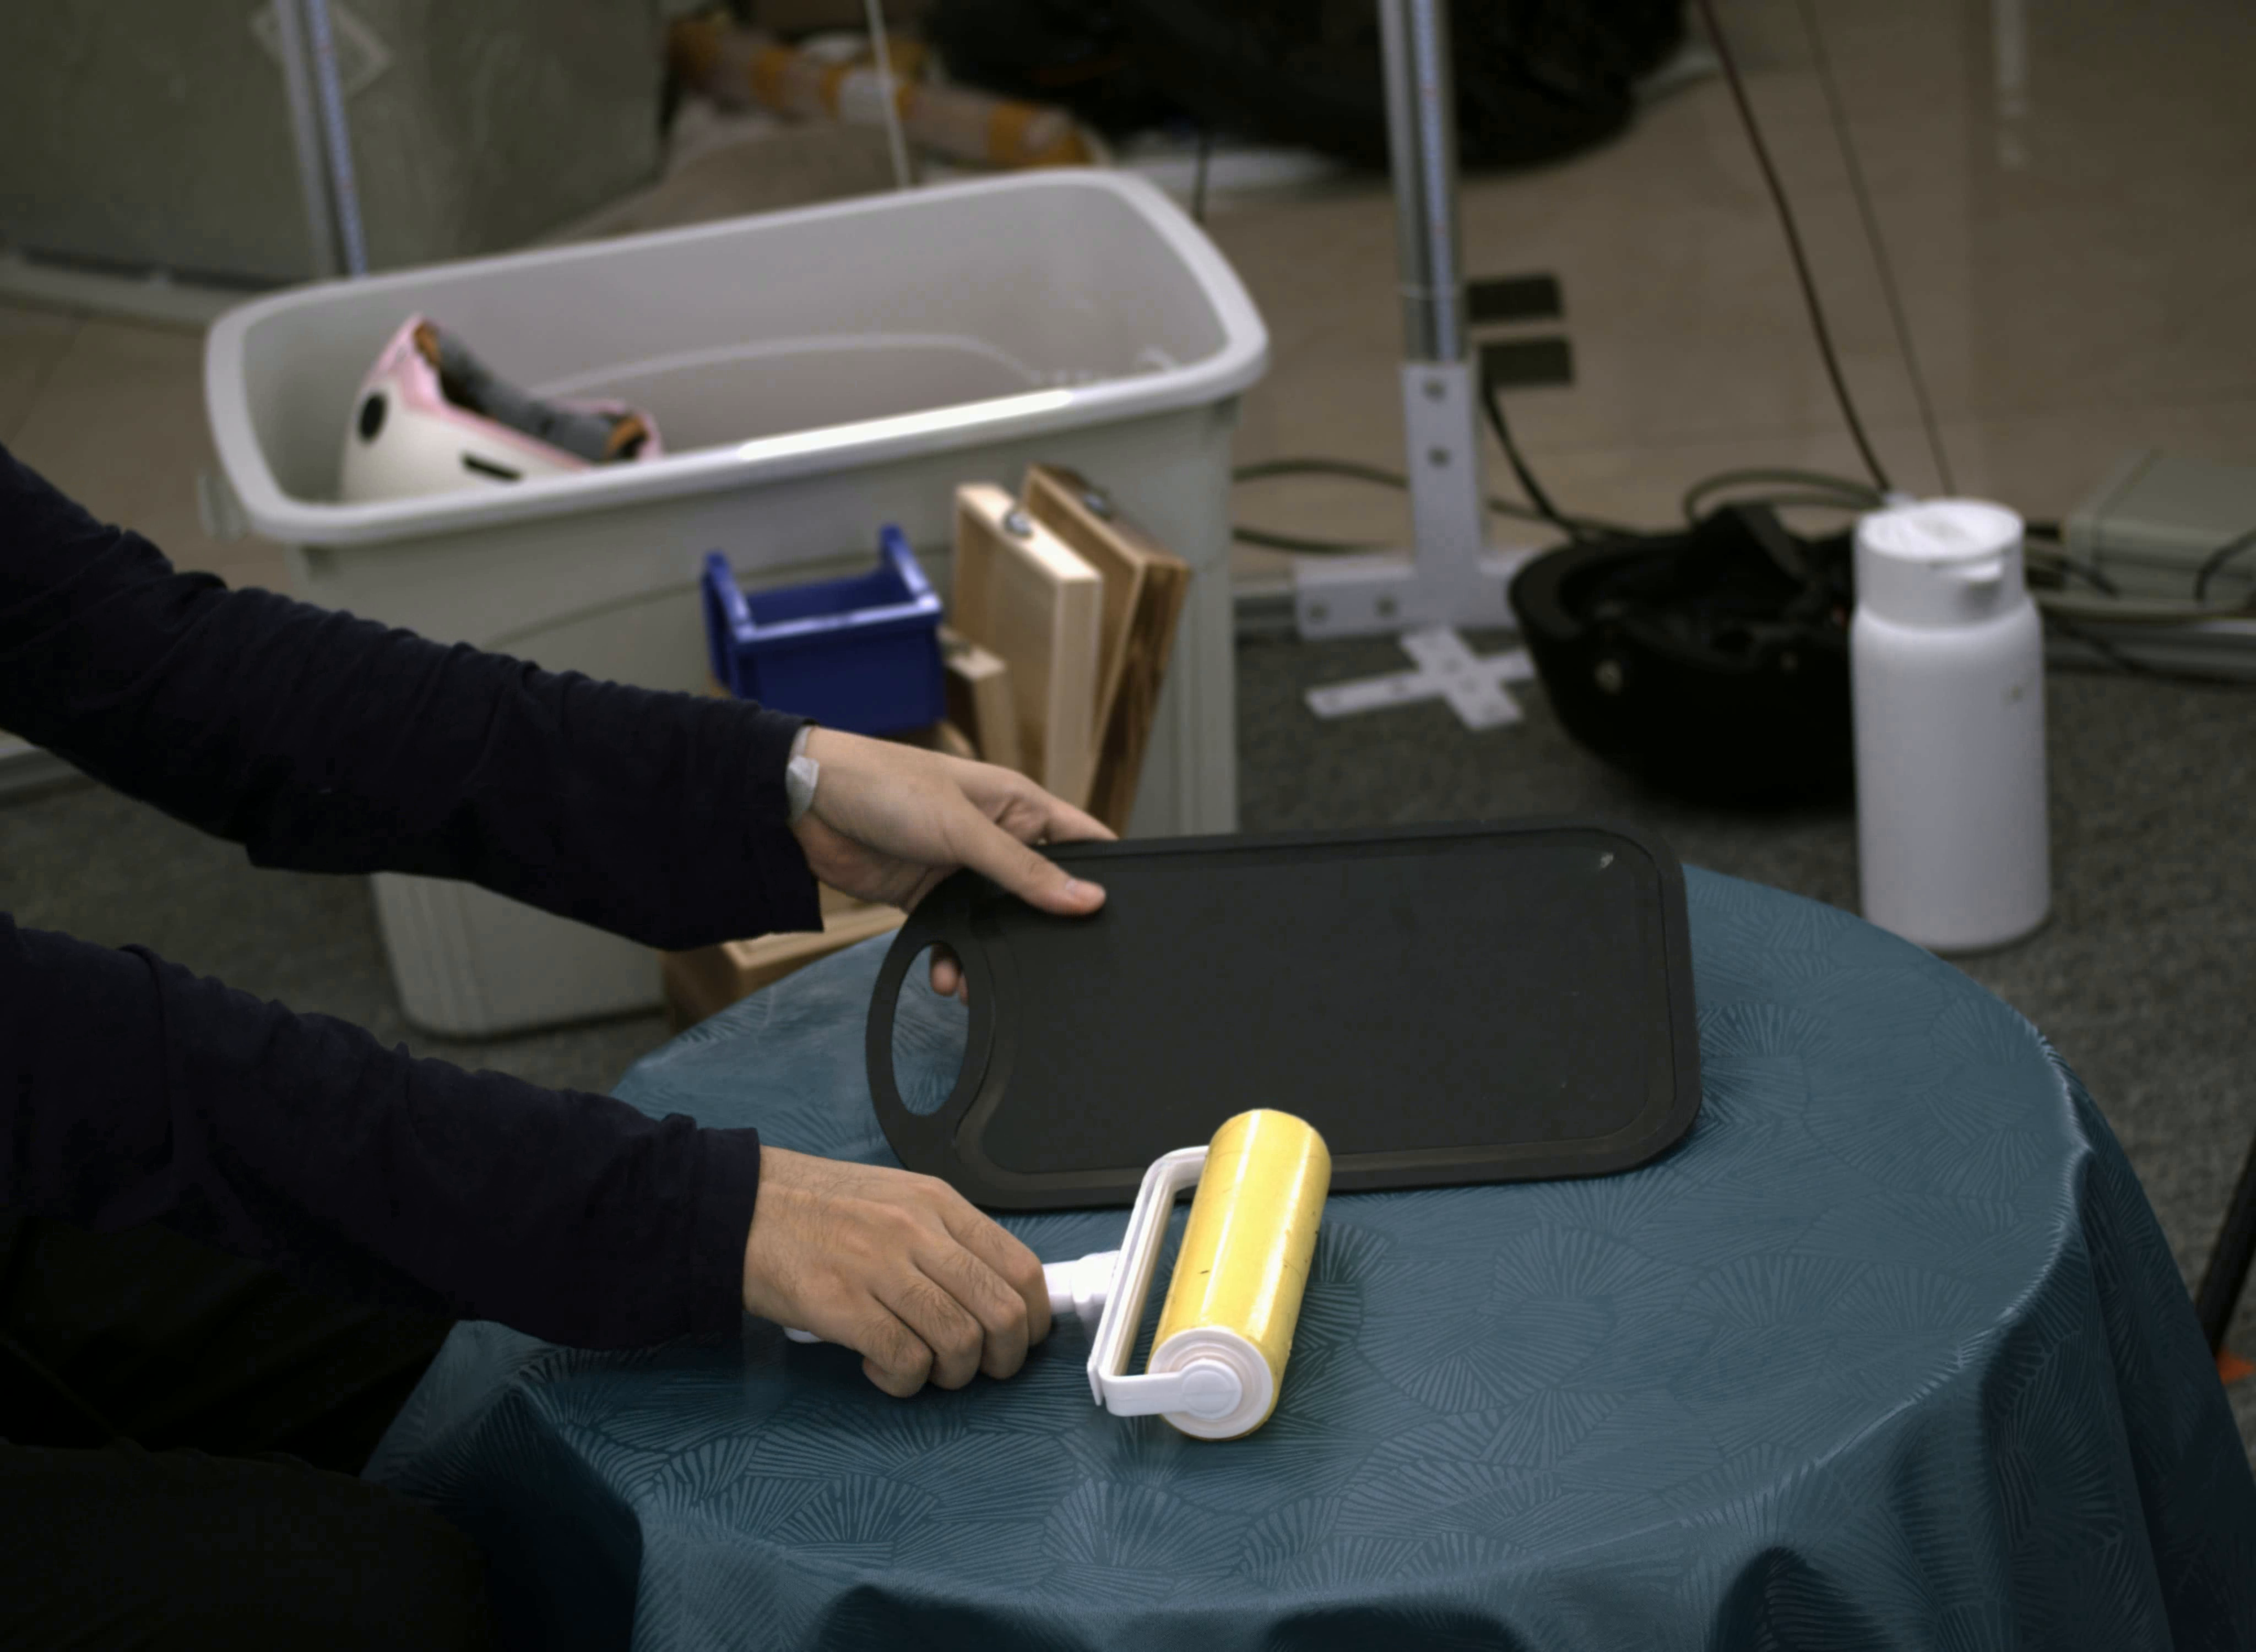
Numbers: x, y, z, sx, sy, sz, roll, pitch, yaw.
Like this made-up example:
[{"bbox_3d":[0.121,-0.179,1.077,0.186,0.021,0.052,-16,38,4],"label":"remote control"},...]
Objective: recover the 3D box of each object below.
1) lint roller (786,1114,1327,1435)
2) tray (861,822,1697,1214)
[{"bbox_3d":[-0.030,0.162,2.050,0.191,0.052,0.172,0,24,8],"label":"lint roller"},{"bbox_3d":[0.056,0.072,2.208,0.325,0.010,0.207,-4,40,5],"label":"tray"}]
